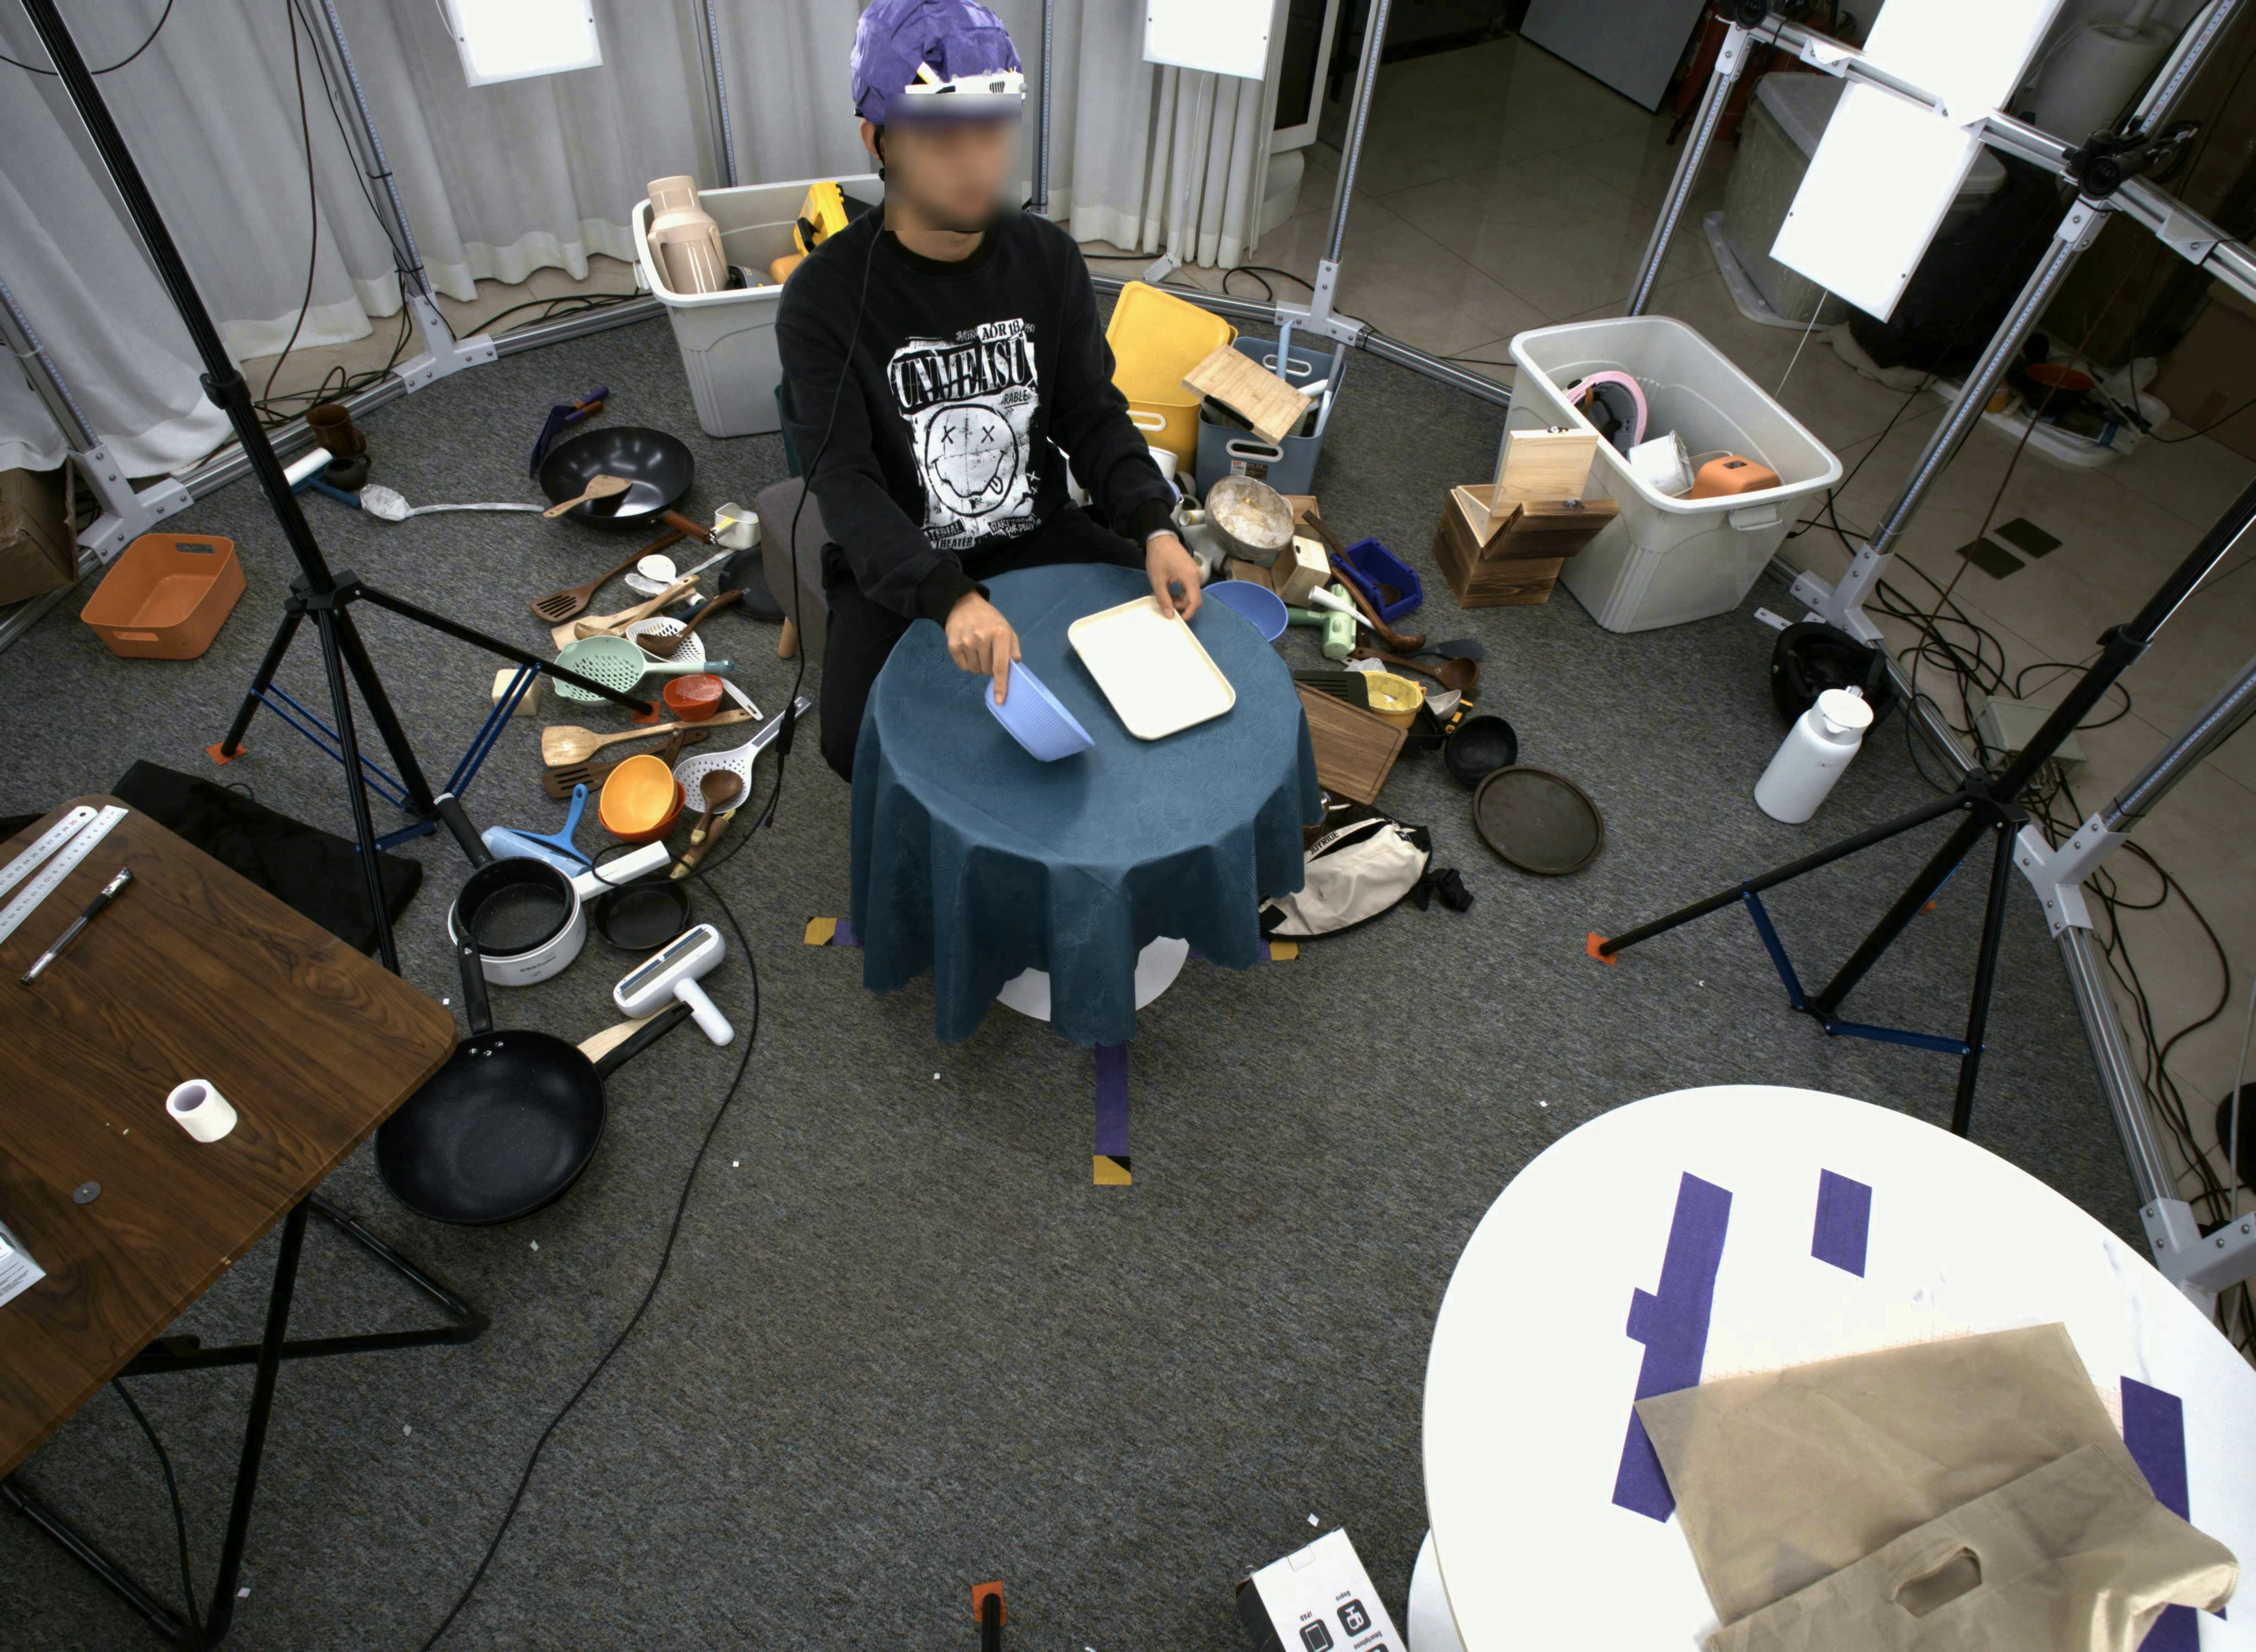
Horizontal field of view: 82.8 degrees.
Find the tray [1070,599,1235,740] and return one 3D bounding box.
[{"bbox_3d":[0.033,-0.228,1.860,0.172,0.017,0.244,-21,58,-19],"label":"tray"}]

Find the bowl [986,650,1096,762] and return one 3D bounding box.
[{"bbox_3d":[-0.126,-0.149,1.705,0.070,0.173,0.179,-43,59,4],"label":"bowl"}]
